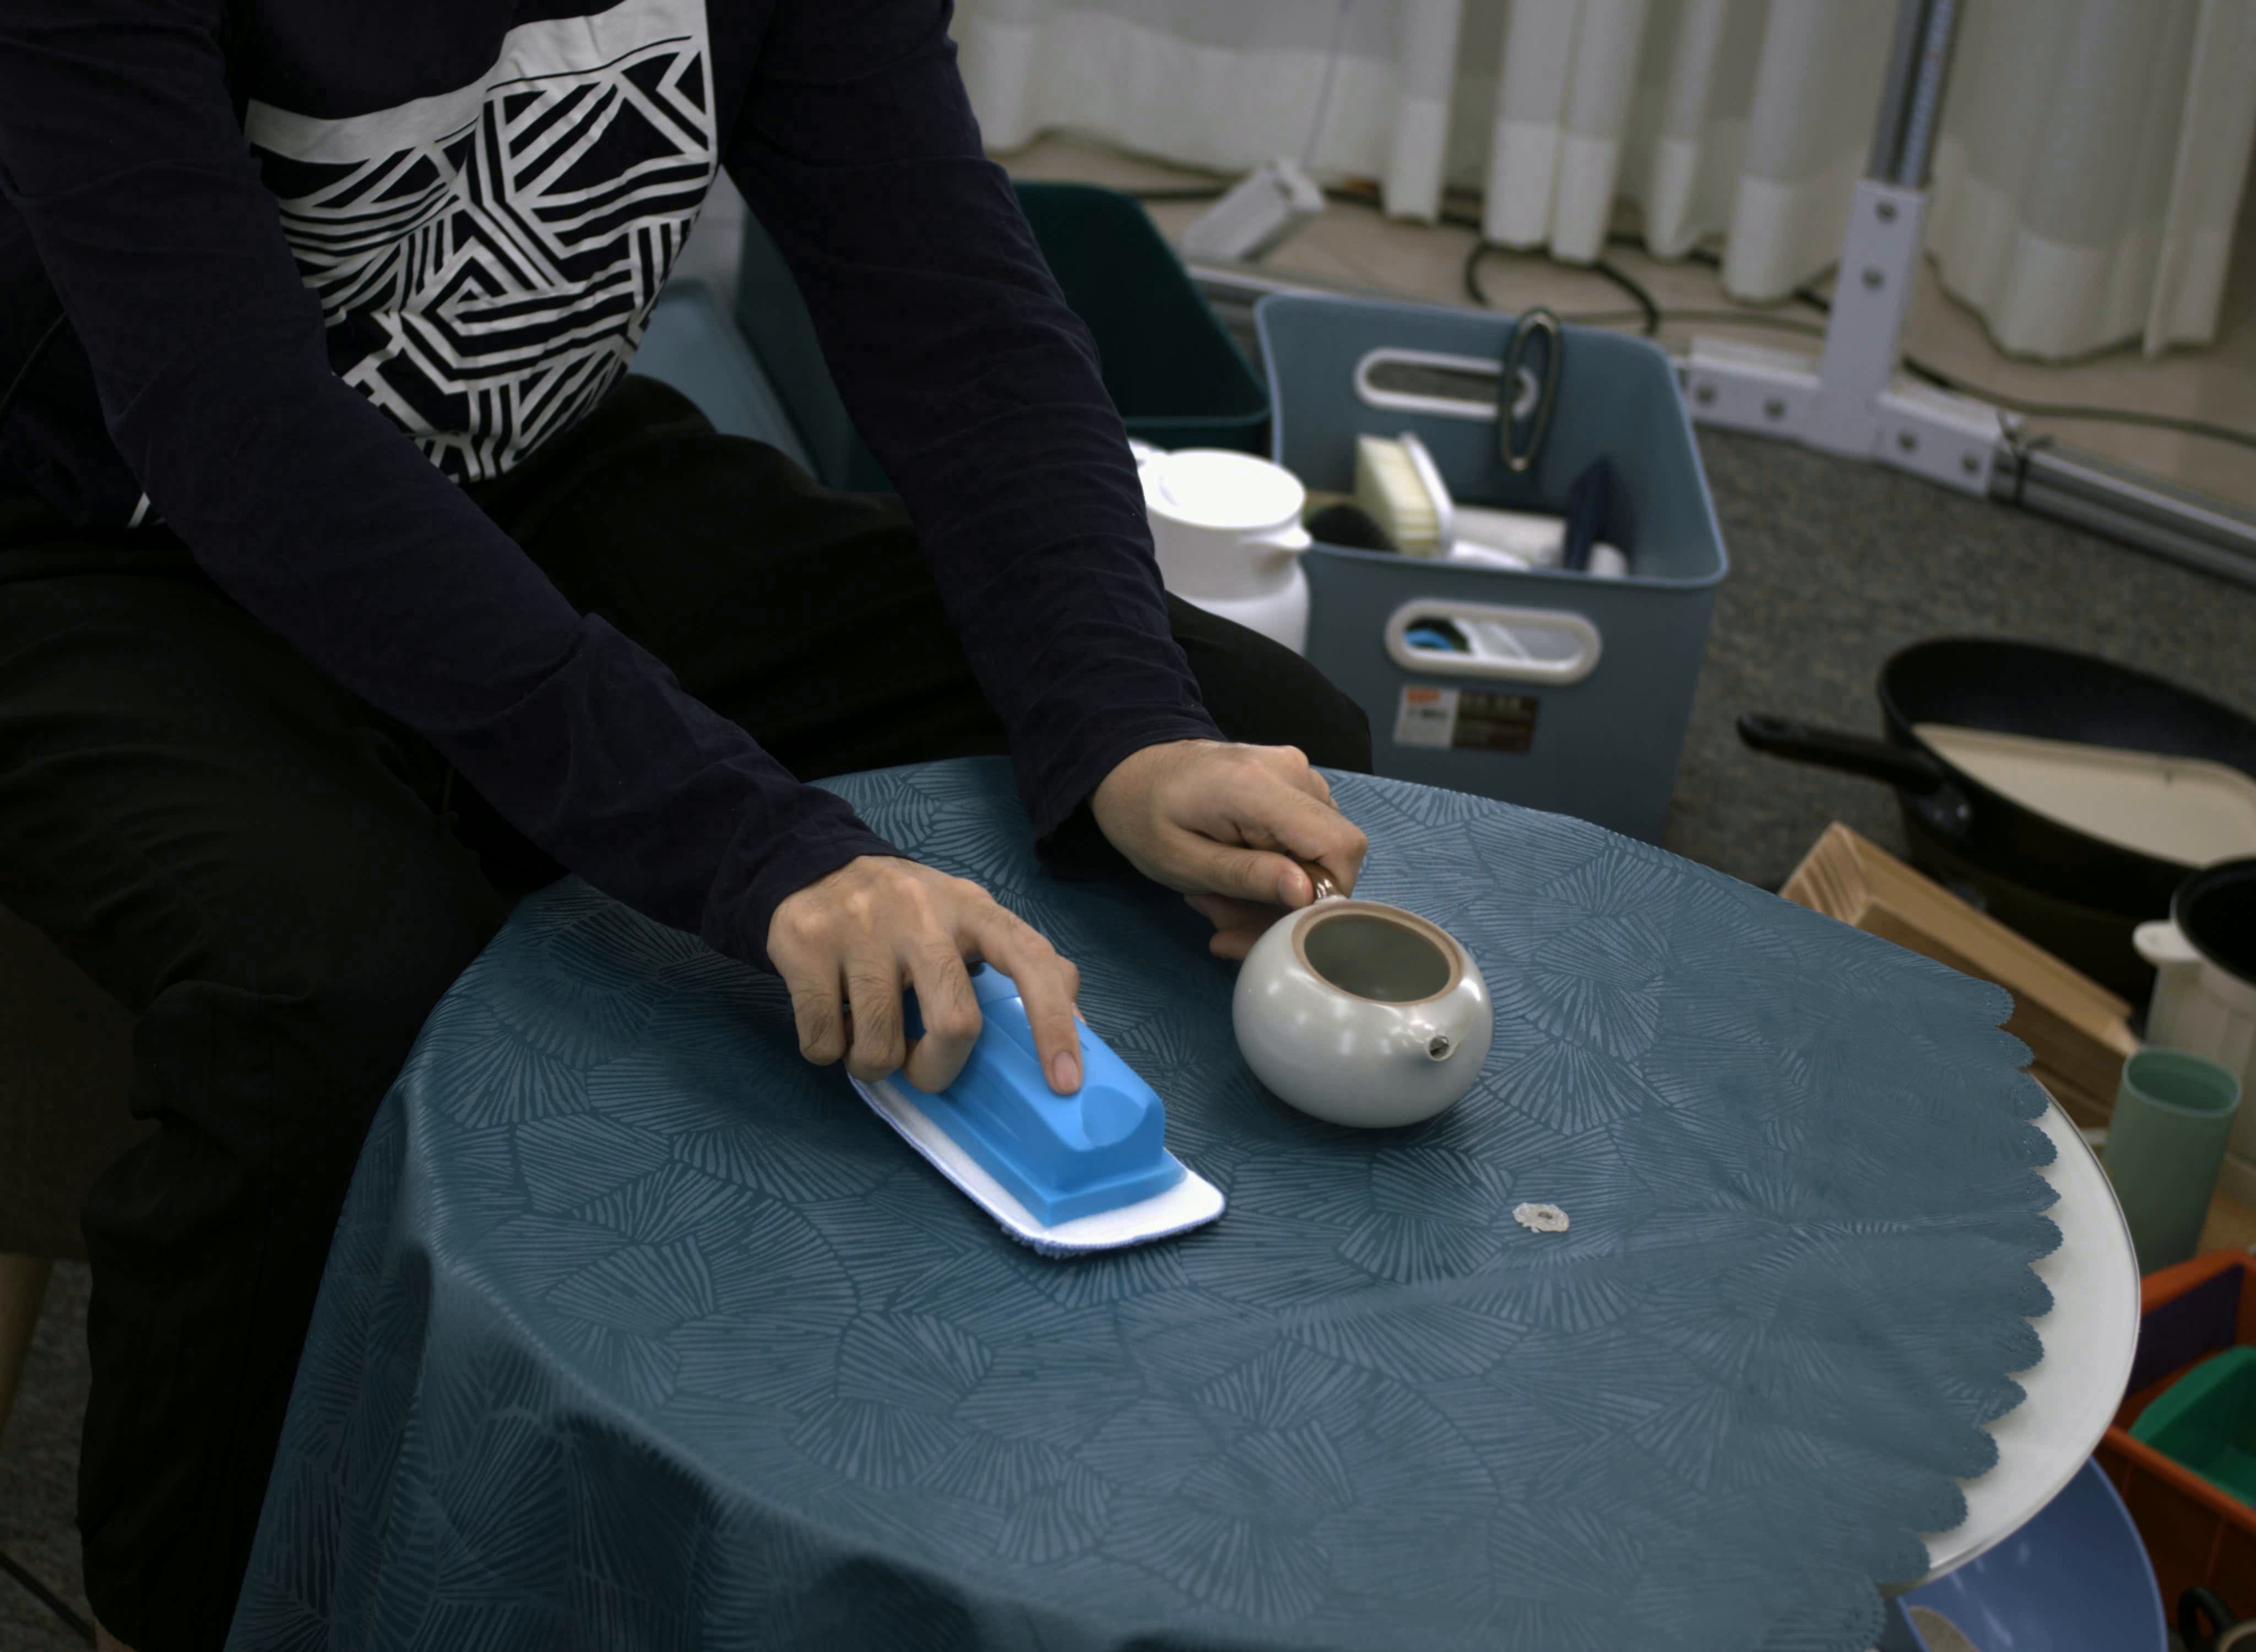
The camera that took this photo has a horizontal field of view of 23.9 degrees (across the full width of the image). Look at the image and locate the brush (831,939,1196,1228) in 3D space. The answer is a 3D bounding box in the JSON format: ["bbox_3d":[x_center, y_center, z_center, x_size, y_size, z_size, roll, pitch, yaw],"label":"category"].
[{"bbox_3d":[-0.036,0.083,1.811,0.083,0.056,0.145,-7,32,-31],"label":"brush"}]

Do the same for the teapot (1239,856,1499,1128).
[{"bbox_3d":[0.080,0.060,1.873,0.091,0.059,0.129,-9,40,-24],"label":"teapot"}]
